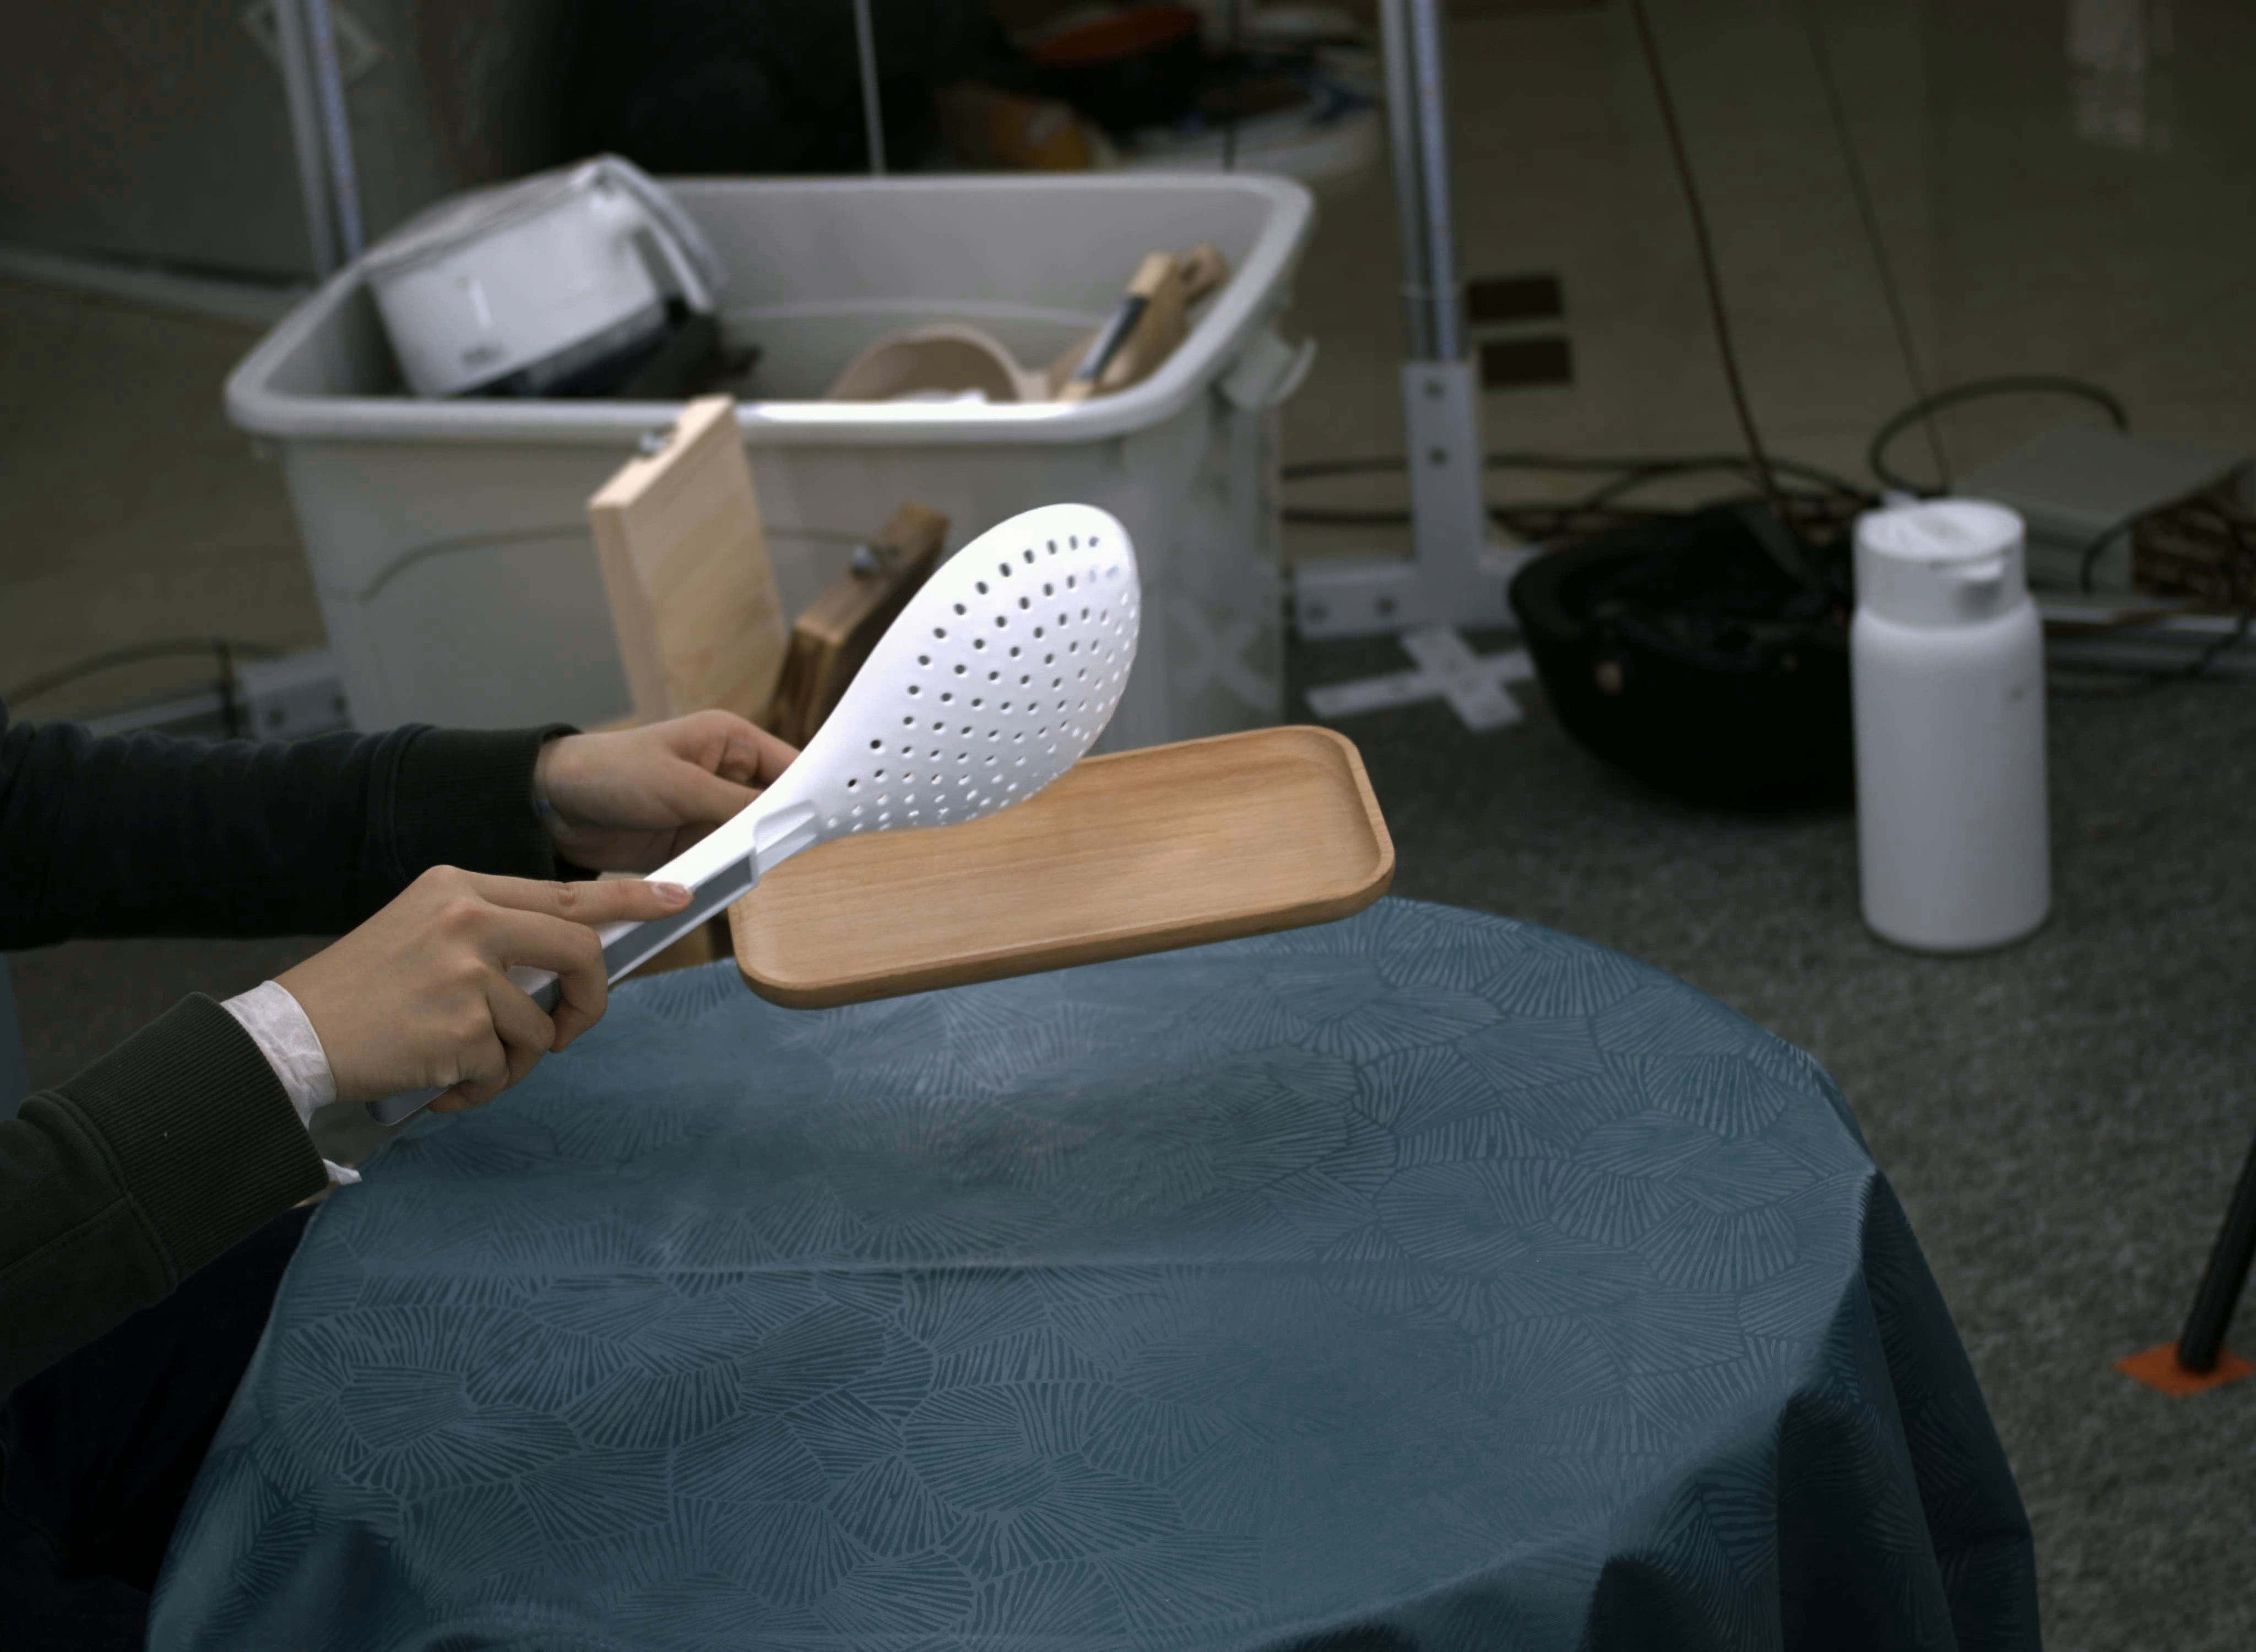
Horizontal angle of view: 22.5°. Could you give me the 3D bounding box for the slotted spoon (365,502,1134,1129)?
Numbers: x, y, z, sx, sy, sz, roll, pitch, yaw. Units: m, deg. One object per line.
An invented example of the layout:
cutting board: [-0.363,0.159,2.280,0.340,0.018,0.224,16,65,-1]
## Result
slotted spoon: [-0.126,0.003,1.992,0.347,0.139,0.045,-31,50,-22]

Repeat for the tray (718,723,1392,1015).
tray: [-0.029,0.016,2.148,0.250,0.023,0.128,-10,32,-3]
